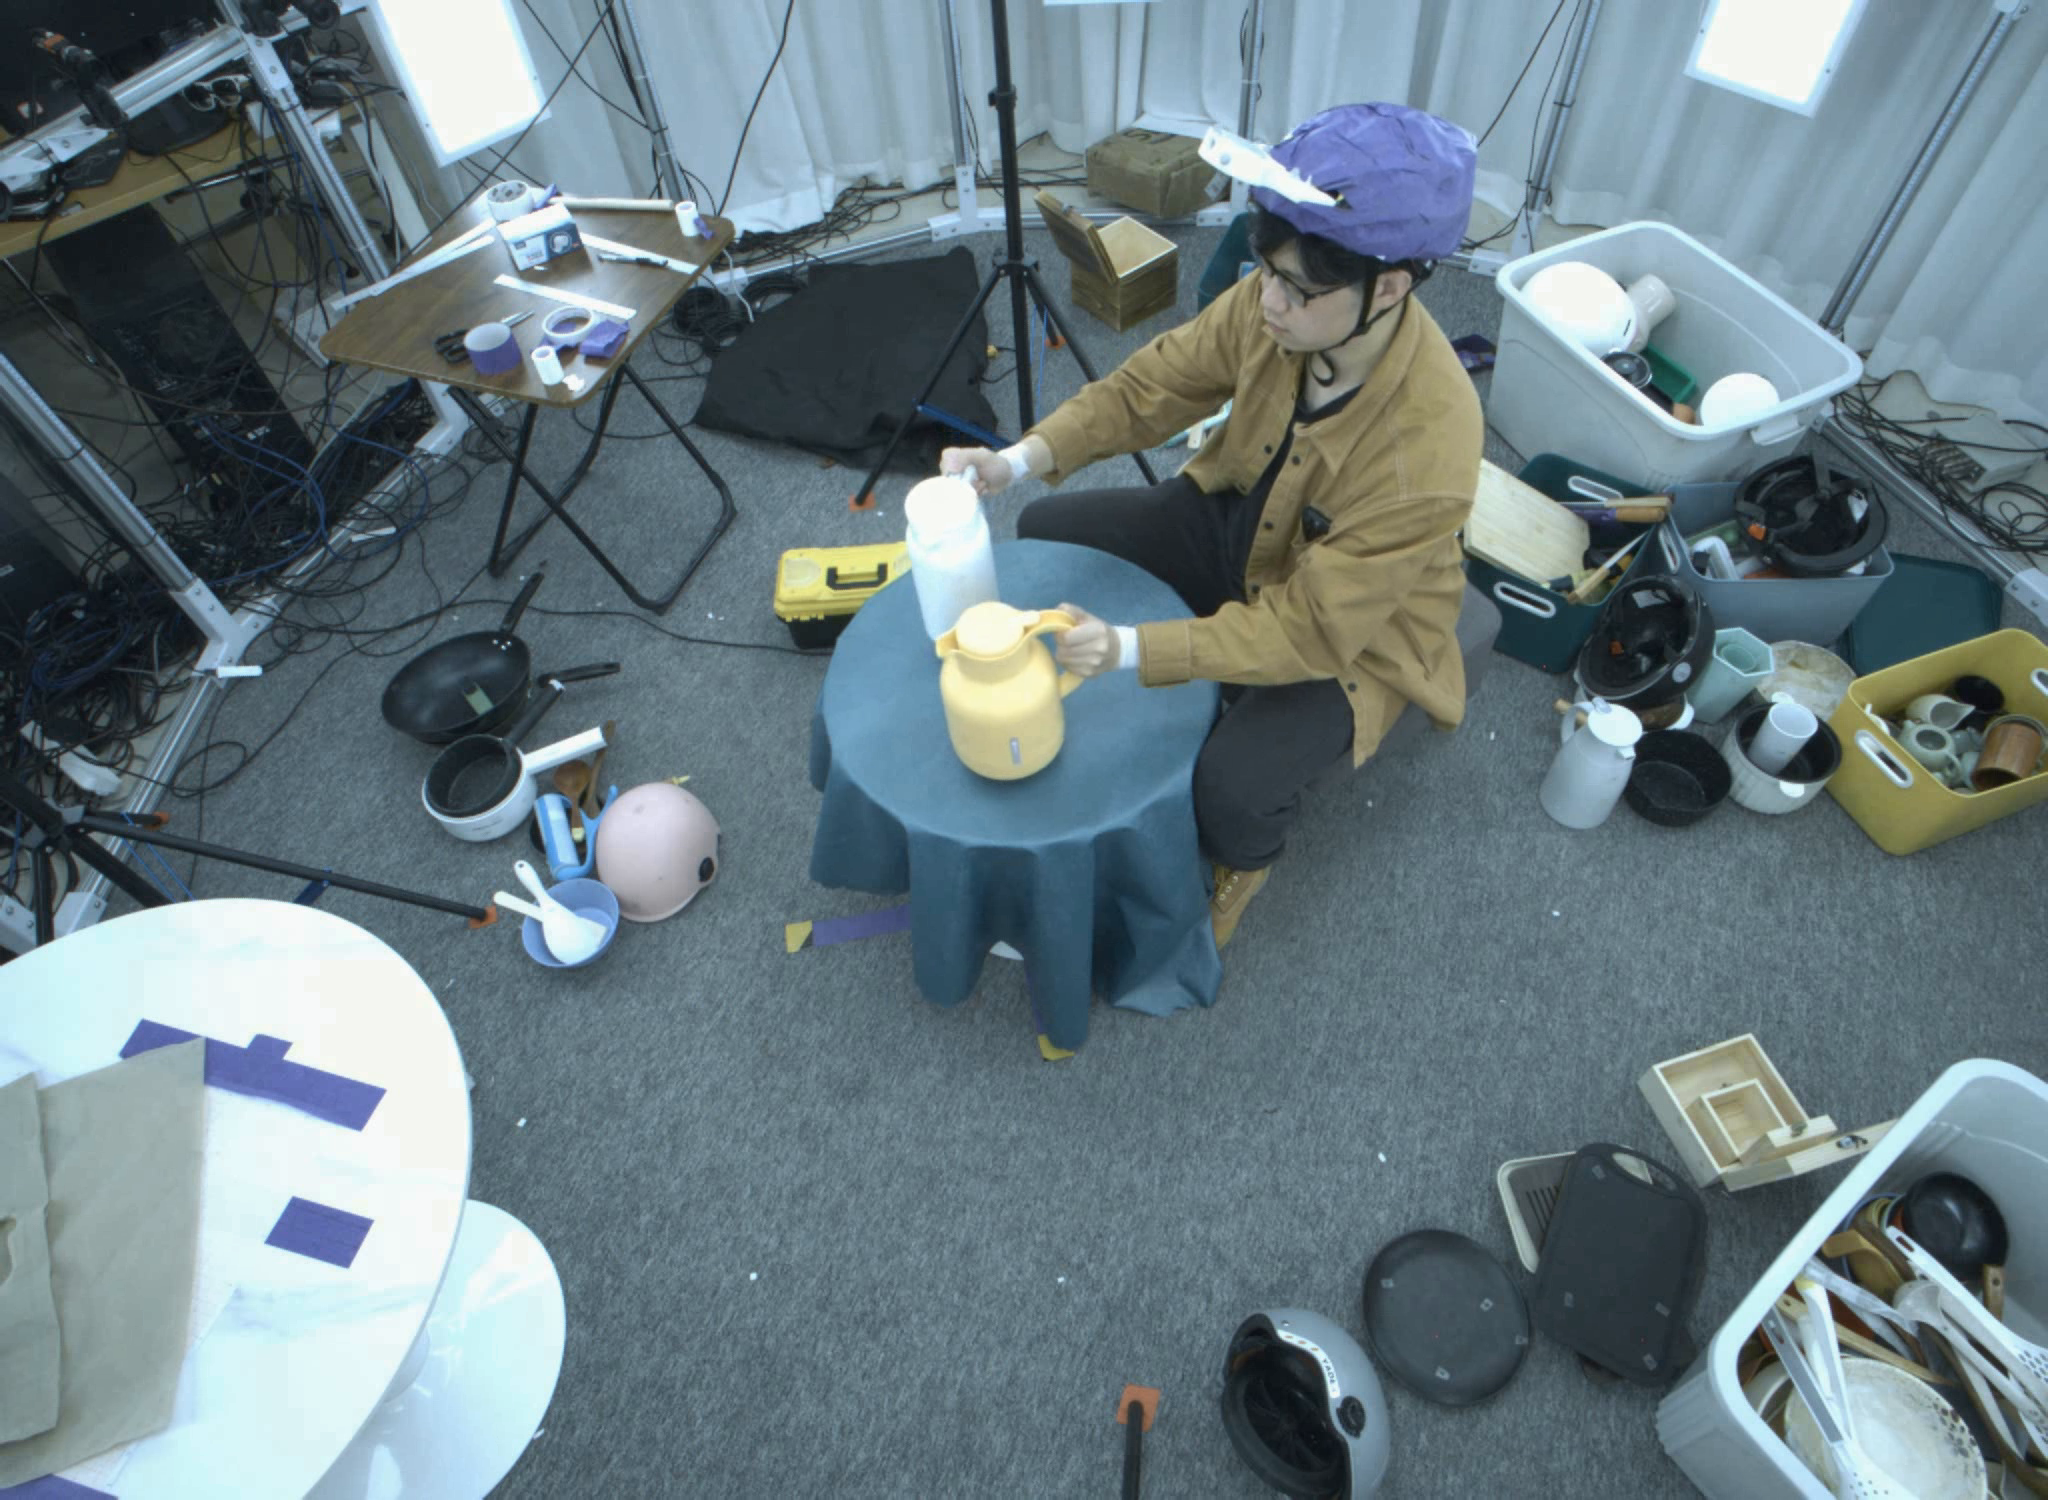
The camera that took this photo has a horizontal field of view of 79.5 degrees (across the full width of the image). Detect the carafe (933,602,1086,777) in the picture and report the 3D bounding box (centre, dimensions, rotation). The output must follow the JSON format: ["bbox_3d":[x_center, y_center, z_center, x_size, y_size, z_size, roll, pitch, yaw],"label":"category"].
[{"bbox_3d":[-0.014,-0.092,1.668,0.203,0.264,0.161,-14,57,-2],"label":"carafe"}]

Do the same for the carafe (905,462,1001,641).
[{"bbox_3d":[-0.098,-0.279,1.747,0.123,0.272,0.172,11,61,13],"label":"carafe"}]
